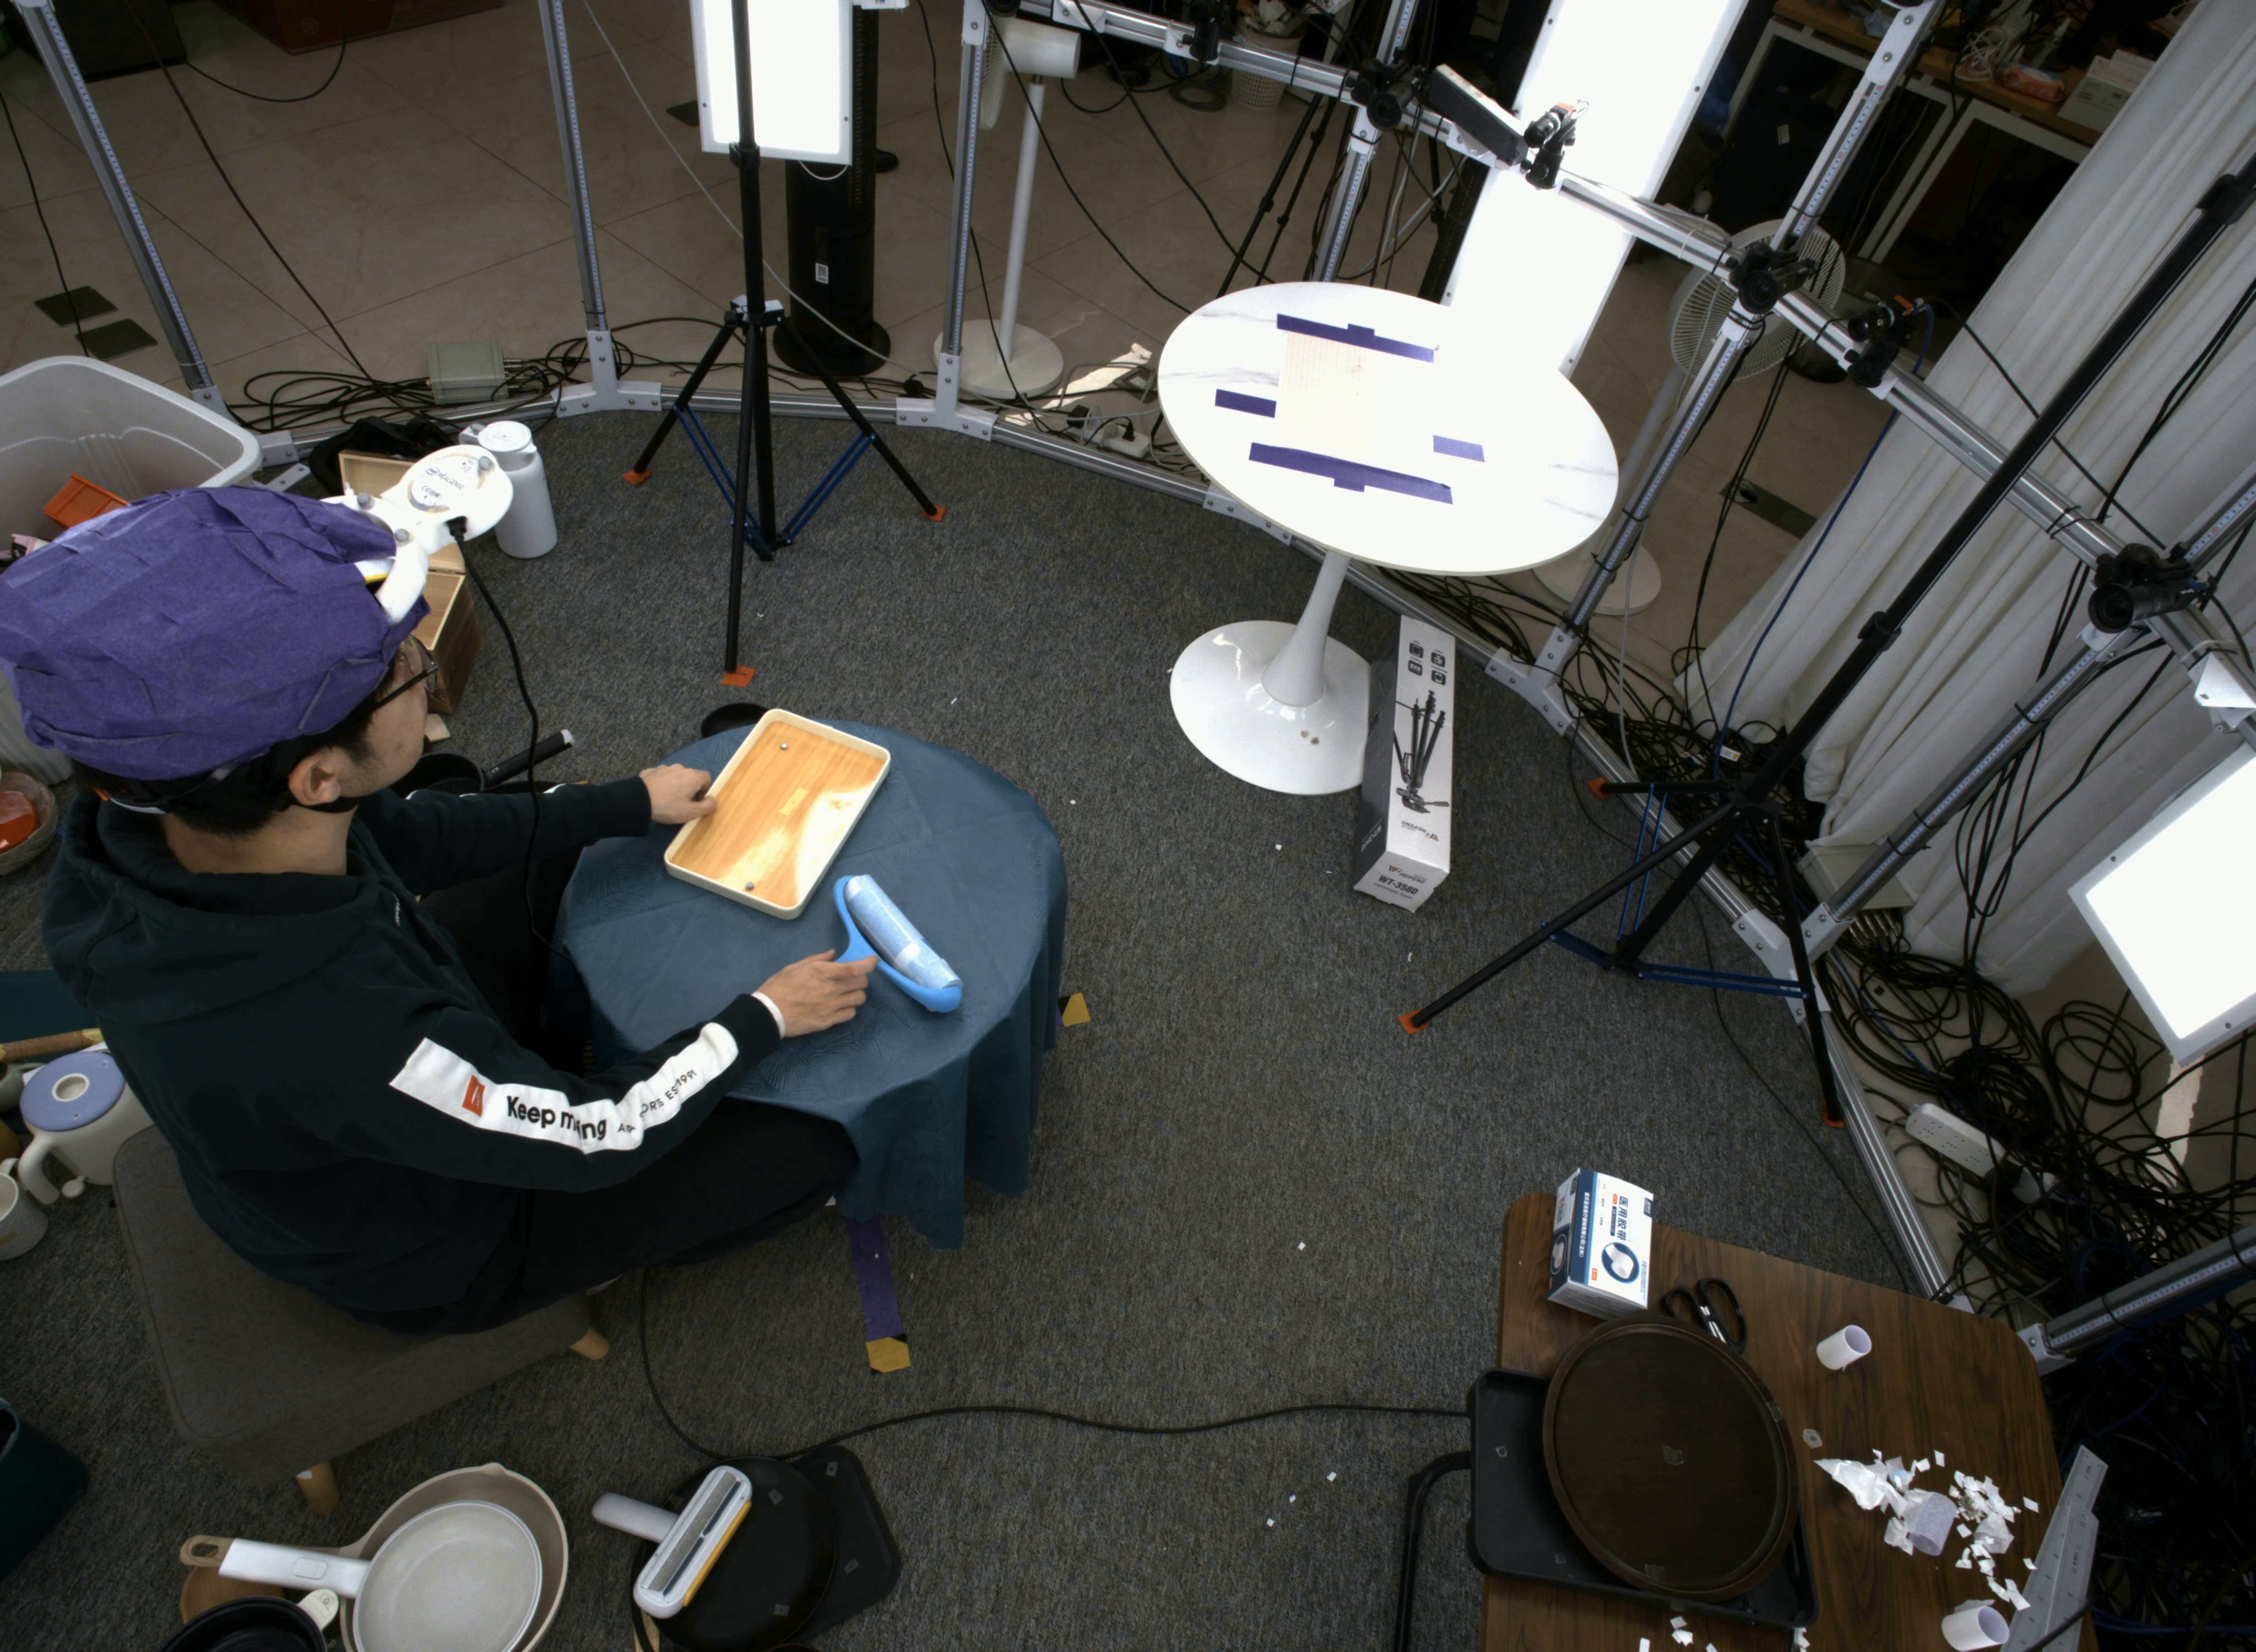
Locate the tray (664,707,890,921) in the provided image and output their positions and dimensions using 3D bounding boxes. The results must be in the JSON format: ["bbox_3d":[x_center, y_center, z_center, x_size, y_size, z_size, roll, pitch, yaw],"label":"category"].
[{"bbox_3d":[-0.460,-0.023,1.720,0.189,0.028,0.297,22,52,2],"label":"tray"}]

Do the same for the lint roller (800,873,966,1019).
[{"bbox_3d":[-0.325,0.168,1.596,0.224,0.069,0.180,43,54,15],"label":"lint roller"}]
